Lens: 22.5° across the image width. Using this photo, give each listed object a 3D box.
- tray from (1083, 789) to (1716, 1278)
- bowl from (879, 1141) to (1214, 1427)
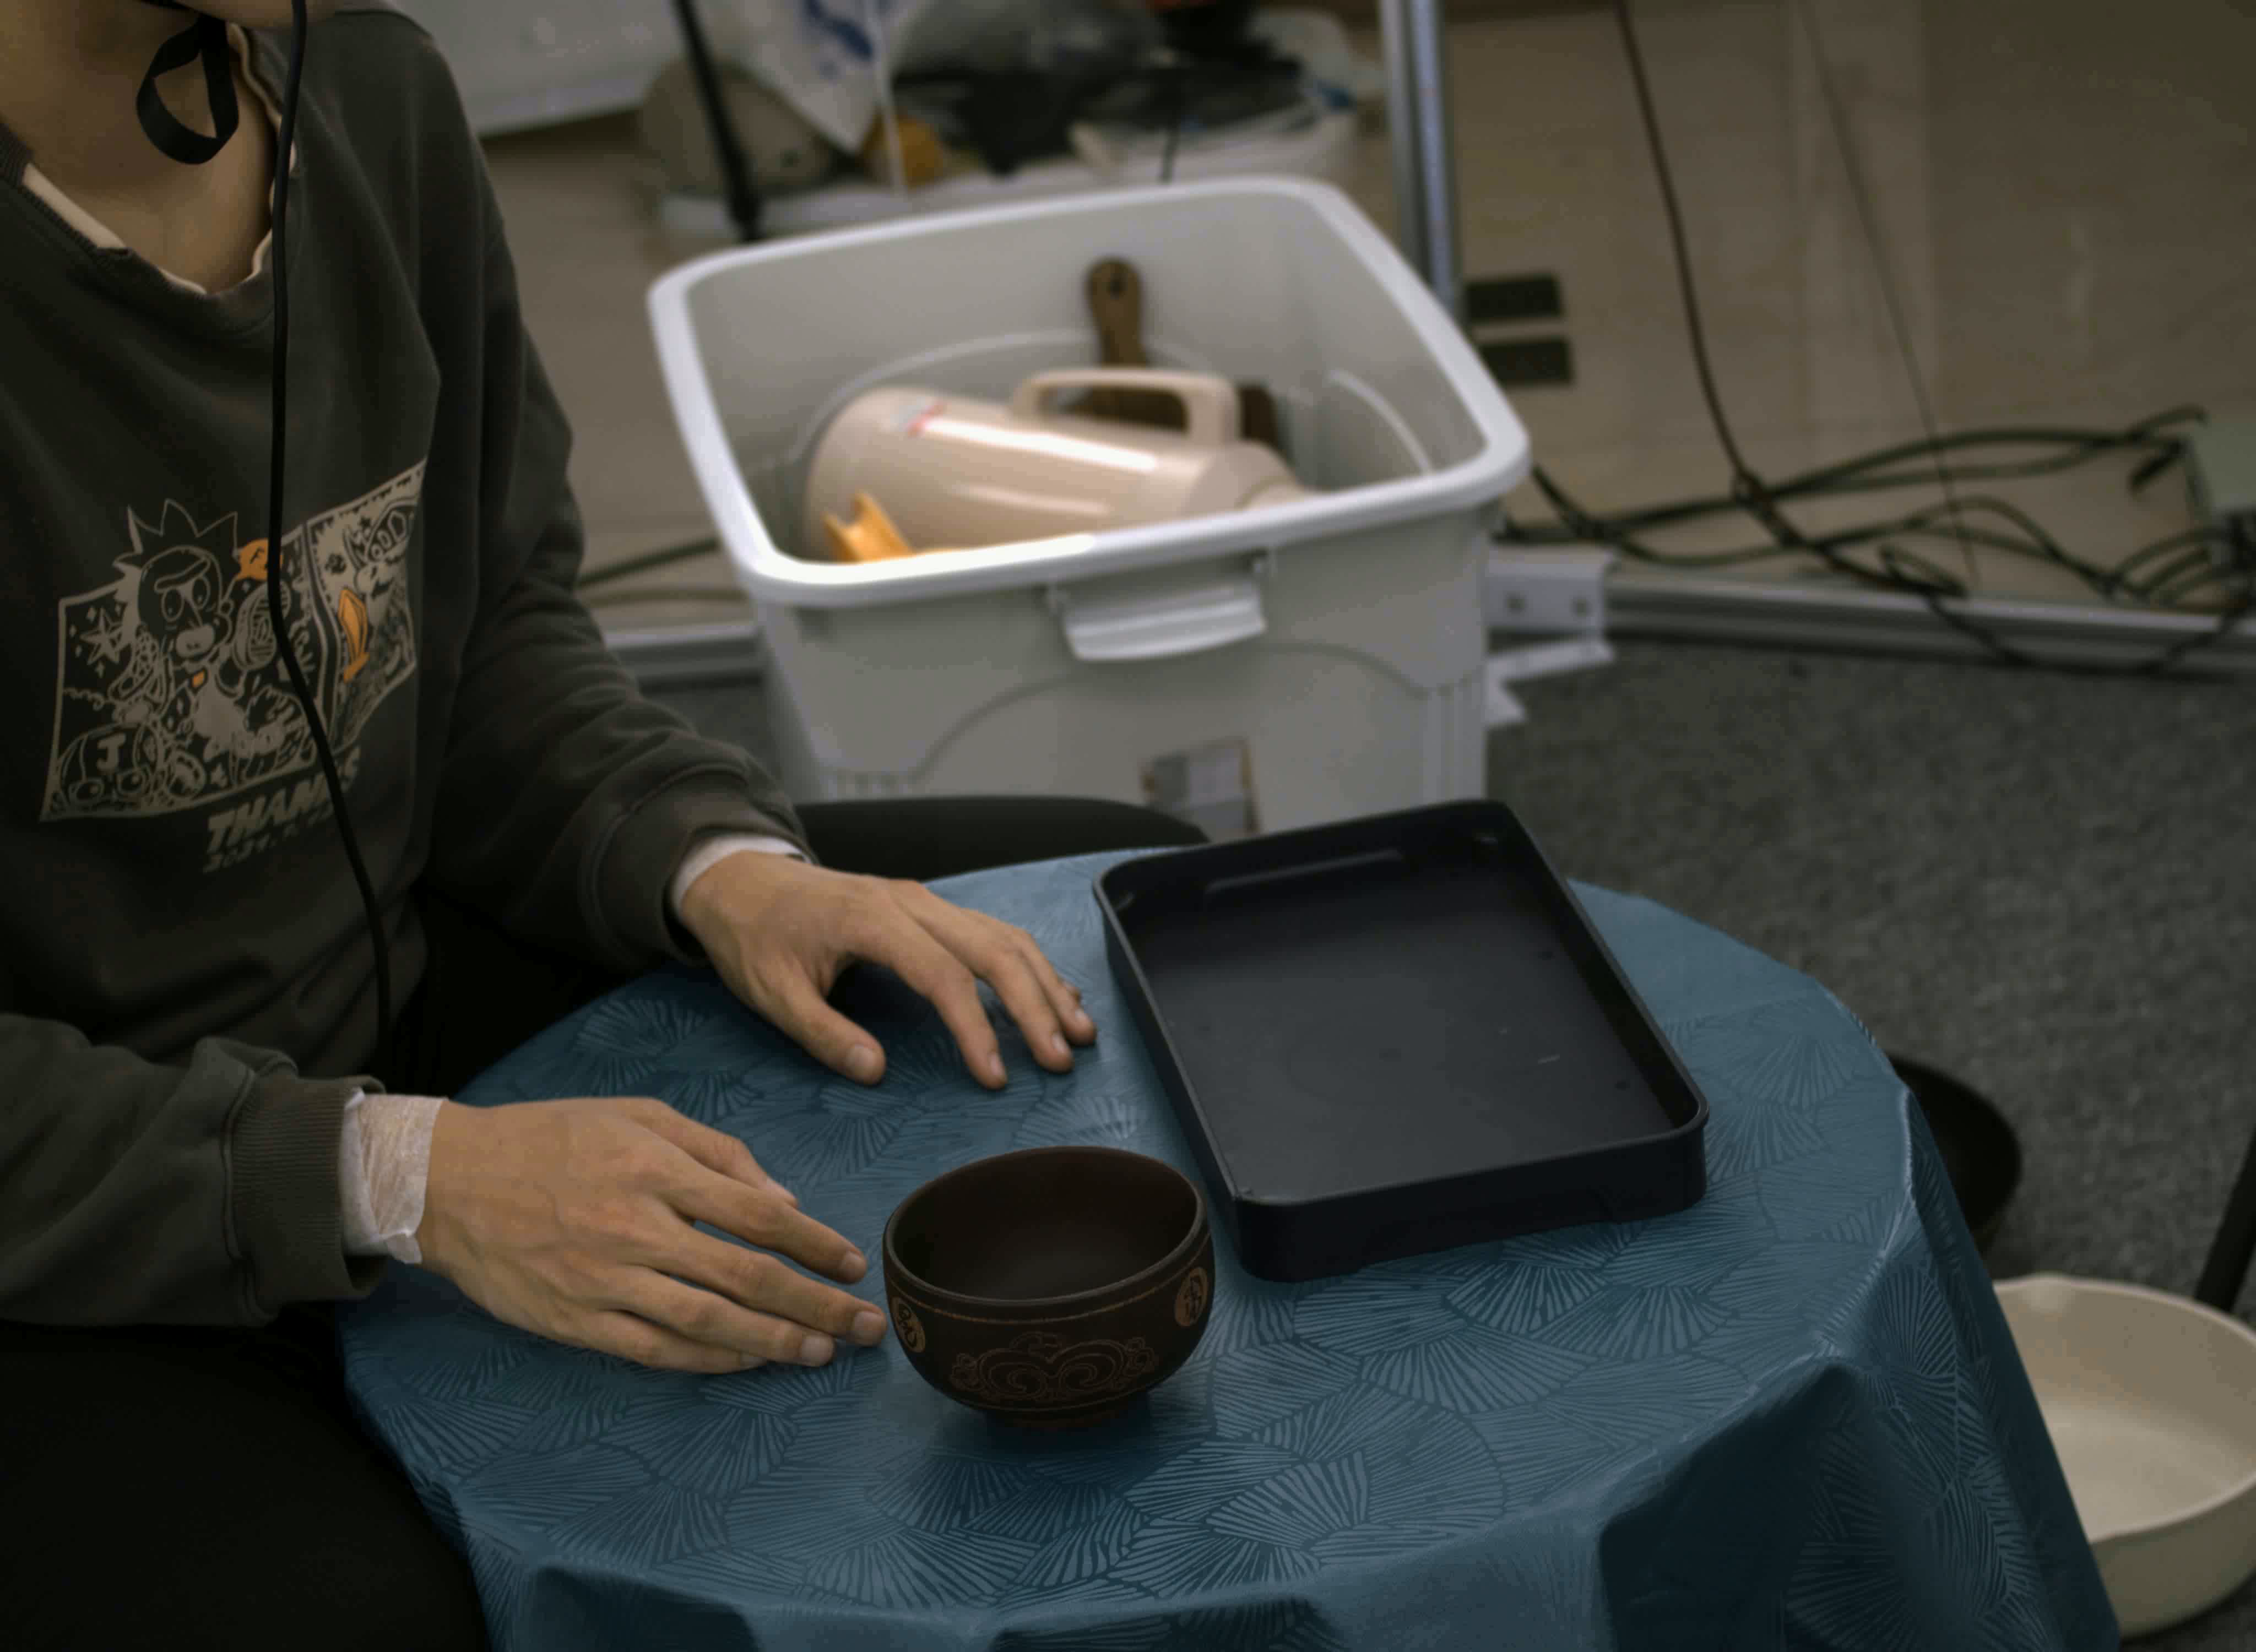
[{"bbox_3d":[0.101,0.076,2.215,0.184,0.037,0.313,-11,26,-8],"label":"tray"},{"bbox_3d":[-0.026,0.168,2.005,0.118,0.071,0.116,-7,25,3],"label":"bowl"}]
